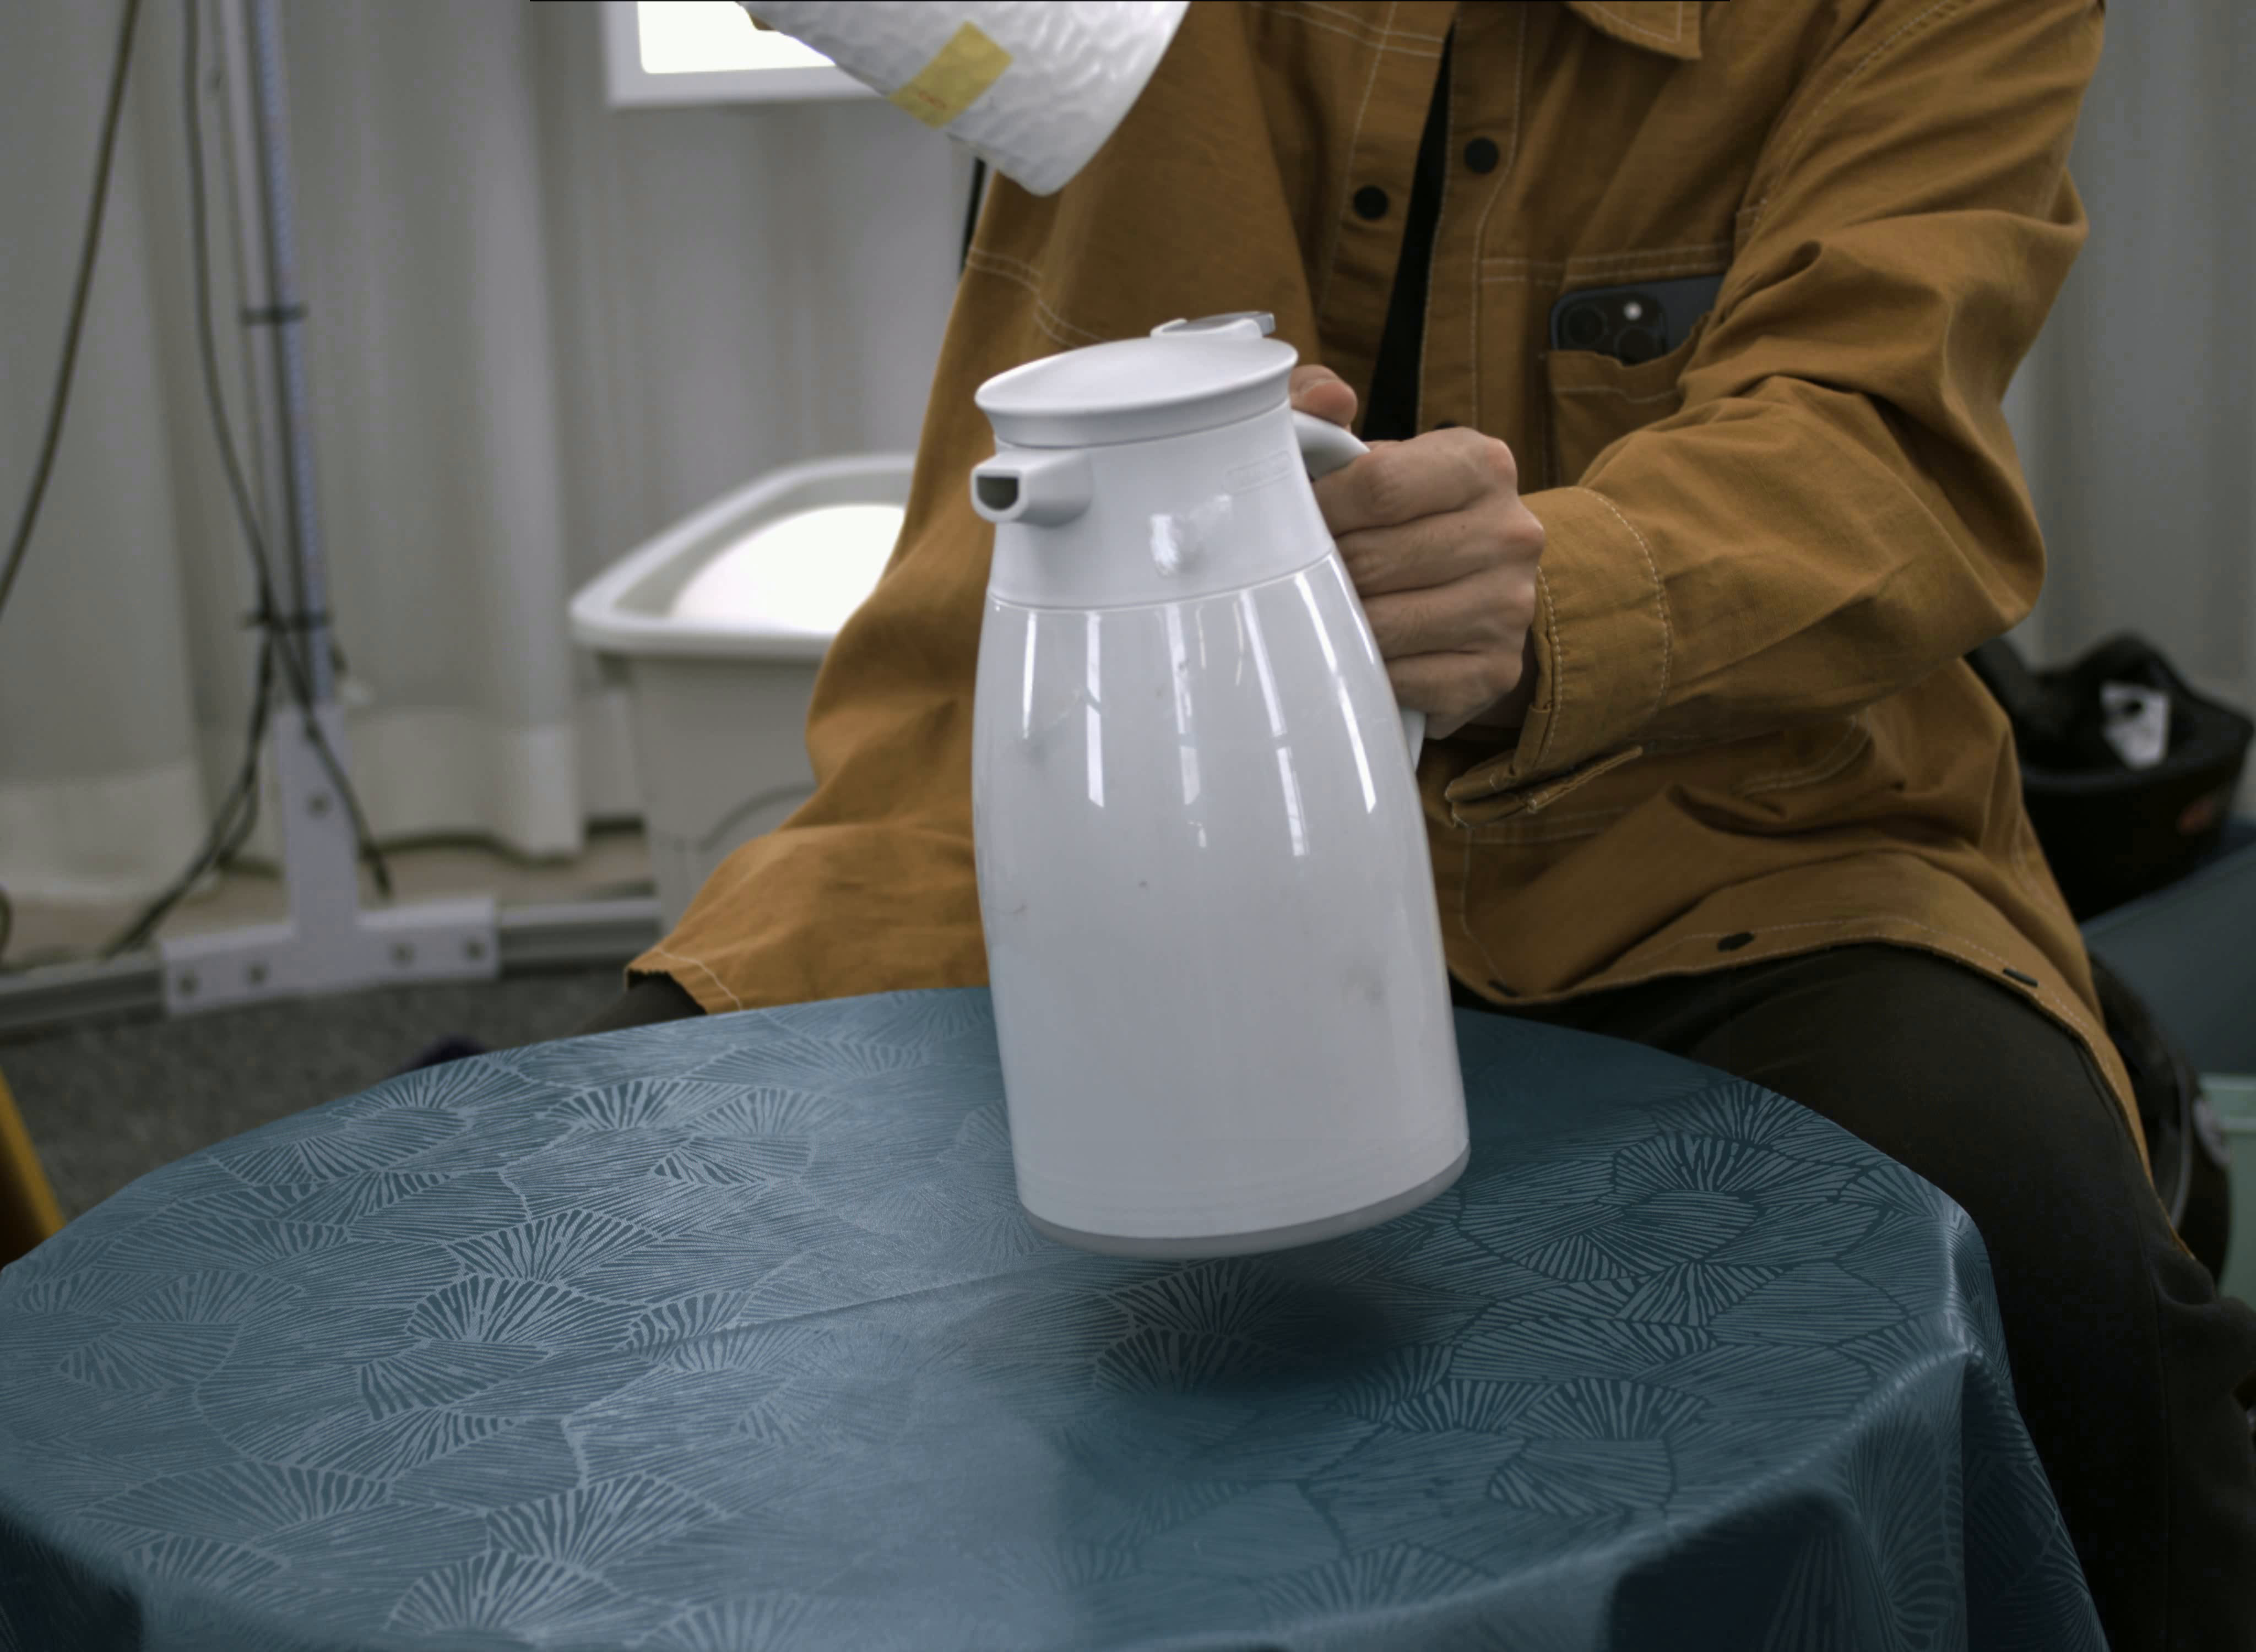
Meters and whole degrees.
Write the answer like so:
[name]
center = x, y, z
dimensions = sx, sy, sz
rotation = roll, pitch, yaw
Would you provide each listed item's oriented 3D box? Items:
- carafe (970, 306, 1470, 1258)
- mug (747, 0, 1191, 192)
[carafe]
center = 0.028, -0.021, 1.570
dimensions = 0.133, 0.248, 0.167
rotation = 3, 16, 40
[mug]
center = -0.041, -0.244, 1.500
dimensions = 0.101, 0.084, 0.120
rotation = 31, 35, -15
